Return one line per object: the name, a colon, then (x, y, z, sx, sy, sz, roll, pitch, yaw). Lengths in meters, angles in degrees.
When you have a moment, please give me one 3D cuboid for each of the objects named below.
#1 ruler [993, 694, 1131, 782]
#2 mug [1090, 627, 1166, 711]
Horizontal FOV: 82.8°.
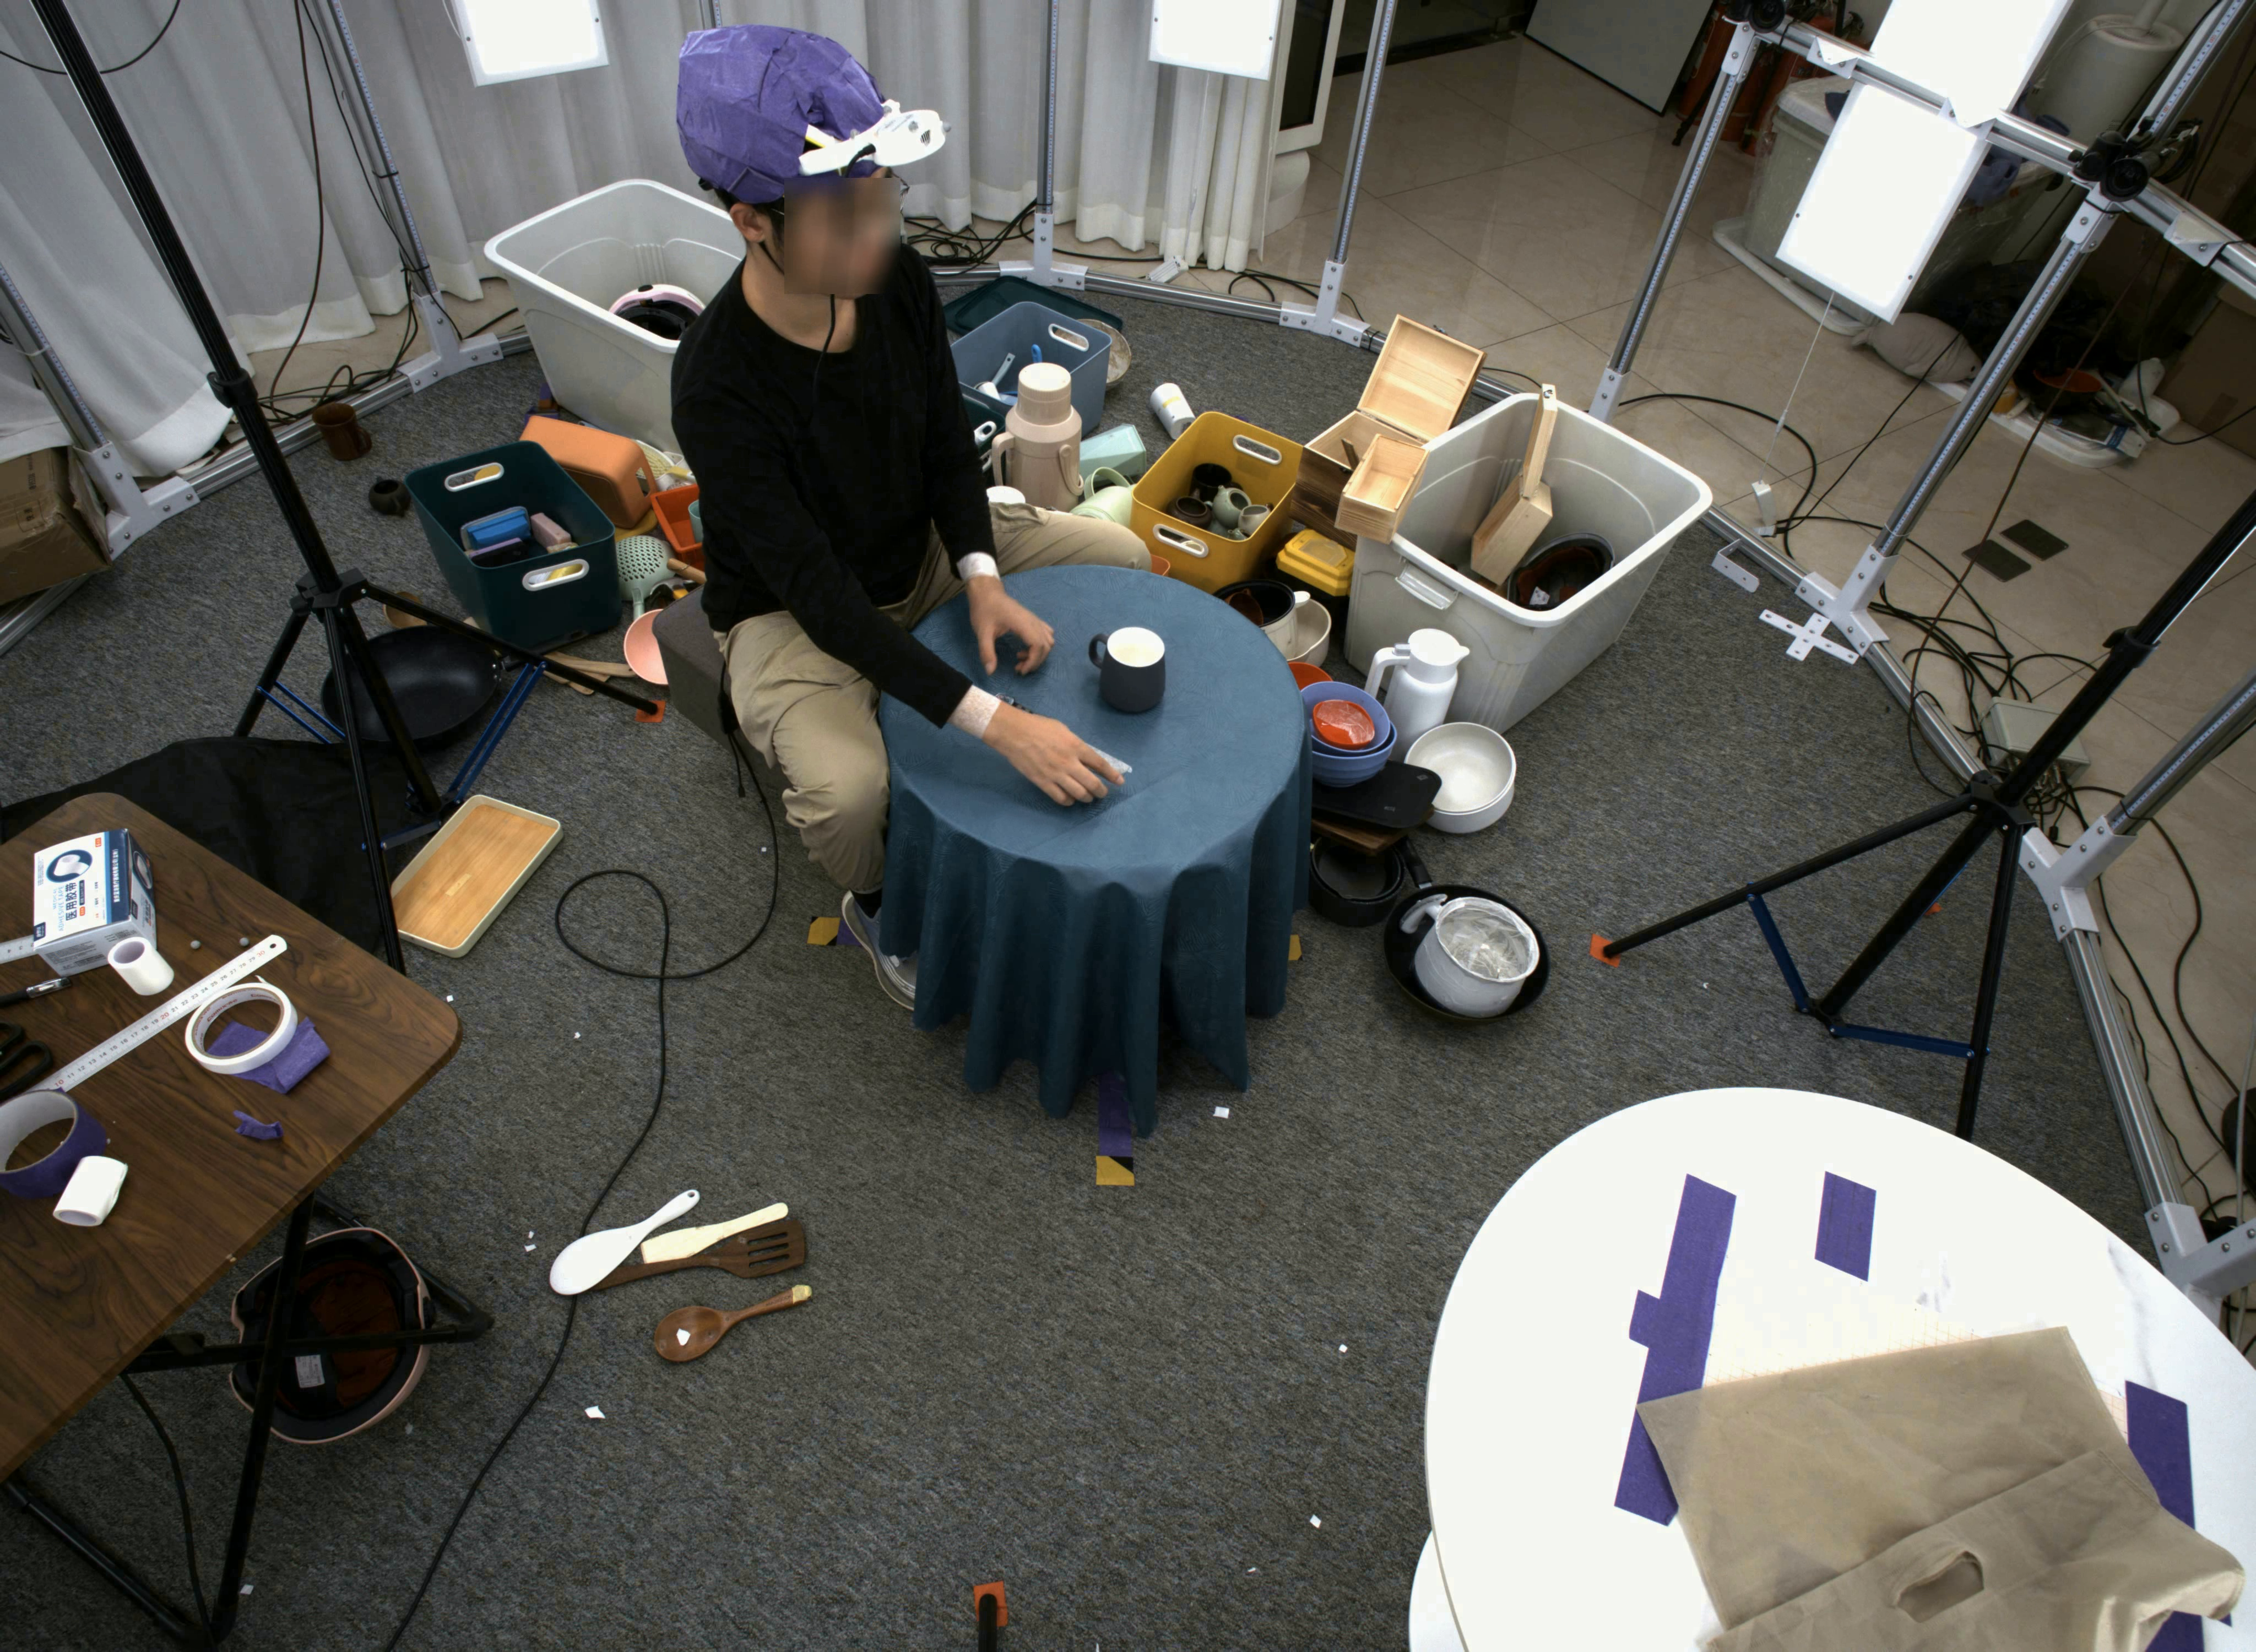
ruler: (-0.095, -0.124, 1.757, 0.220, 0.023, 0.039, 29, 59, 21)
mug: (-0.003, -0.228, 1.807, 0.125, 0.088, 0.094, 35, 55, 22)
